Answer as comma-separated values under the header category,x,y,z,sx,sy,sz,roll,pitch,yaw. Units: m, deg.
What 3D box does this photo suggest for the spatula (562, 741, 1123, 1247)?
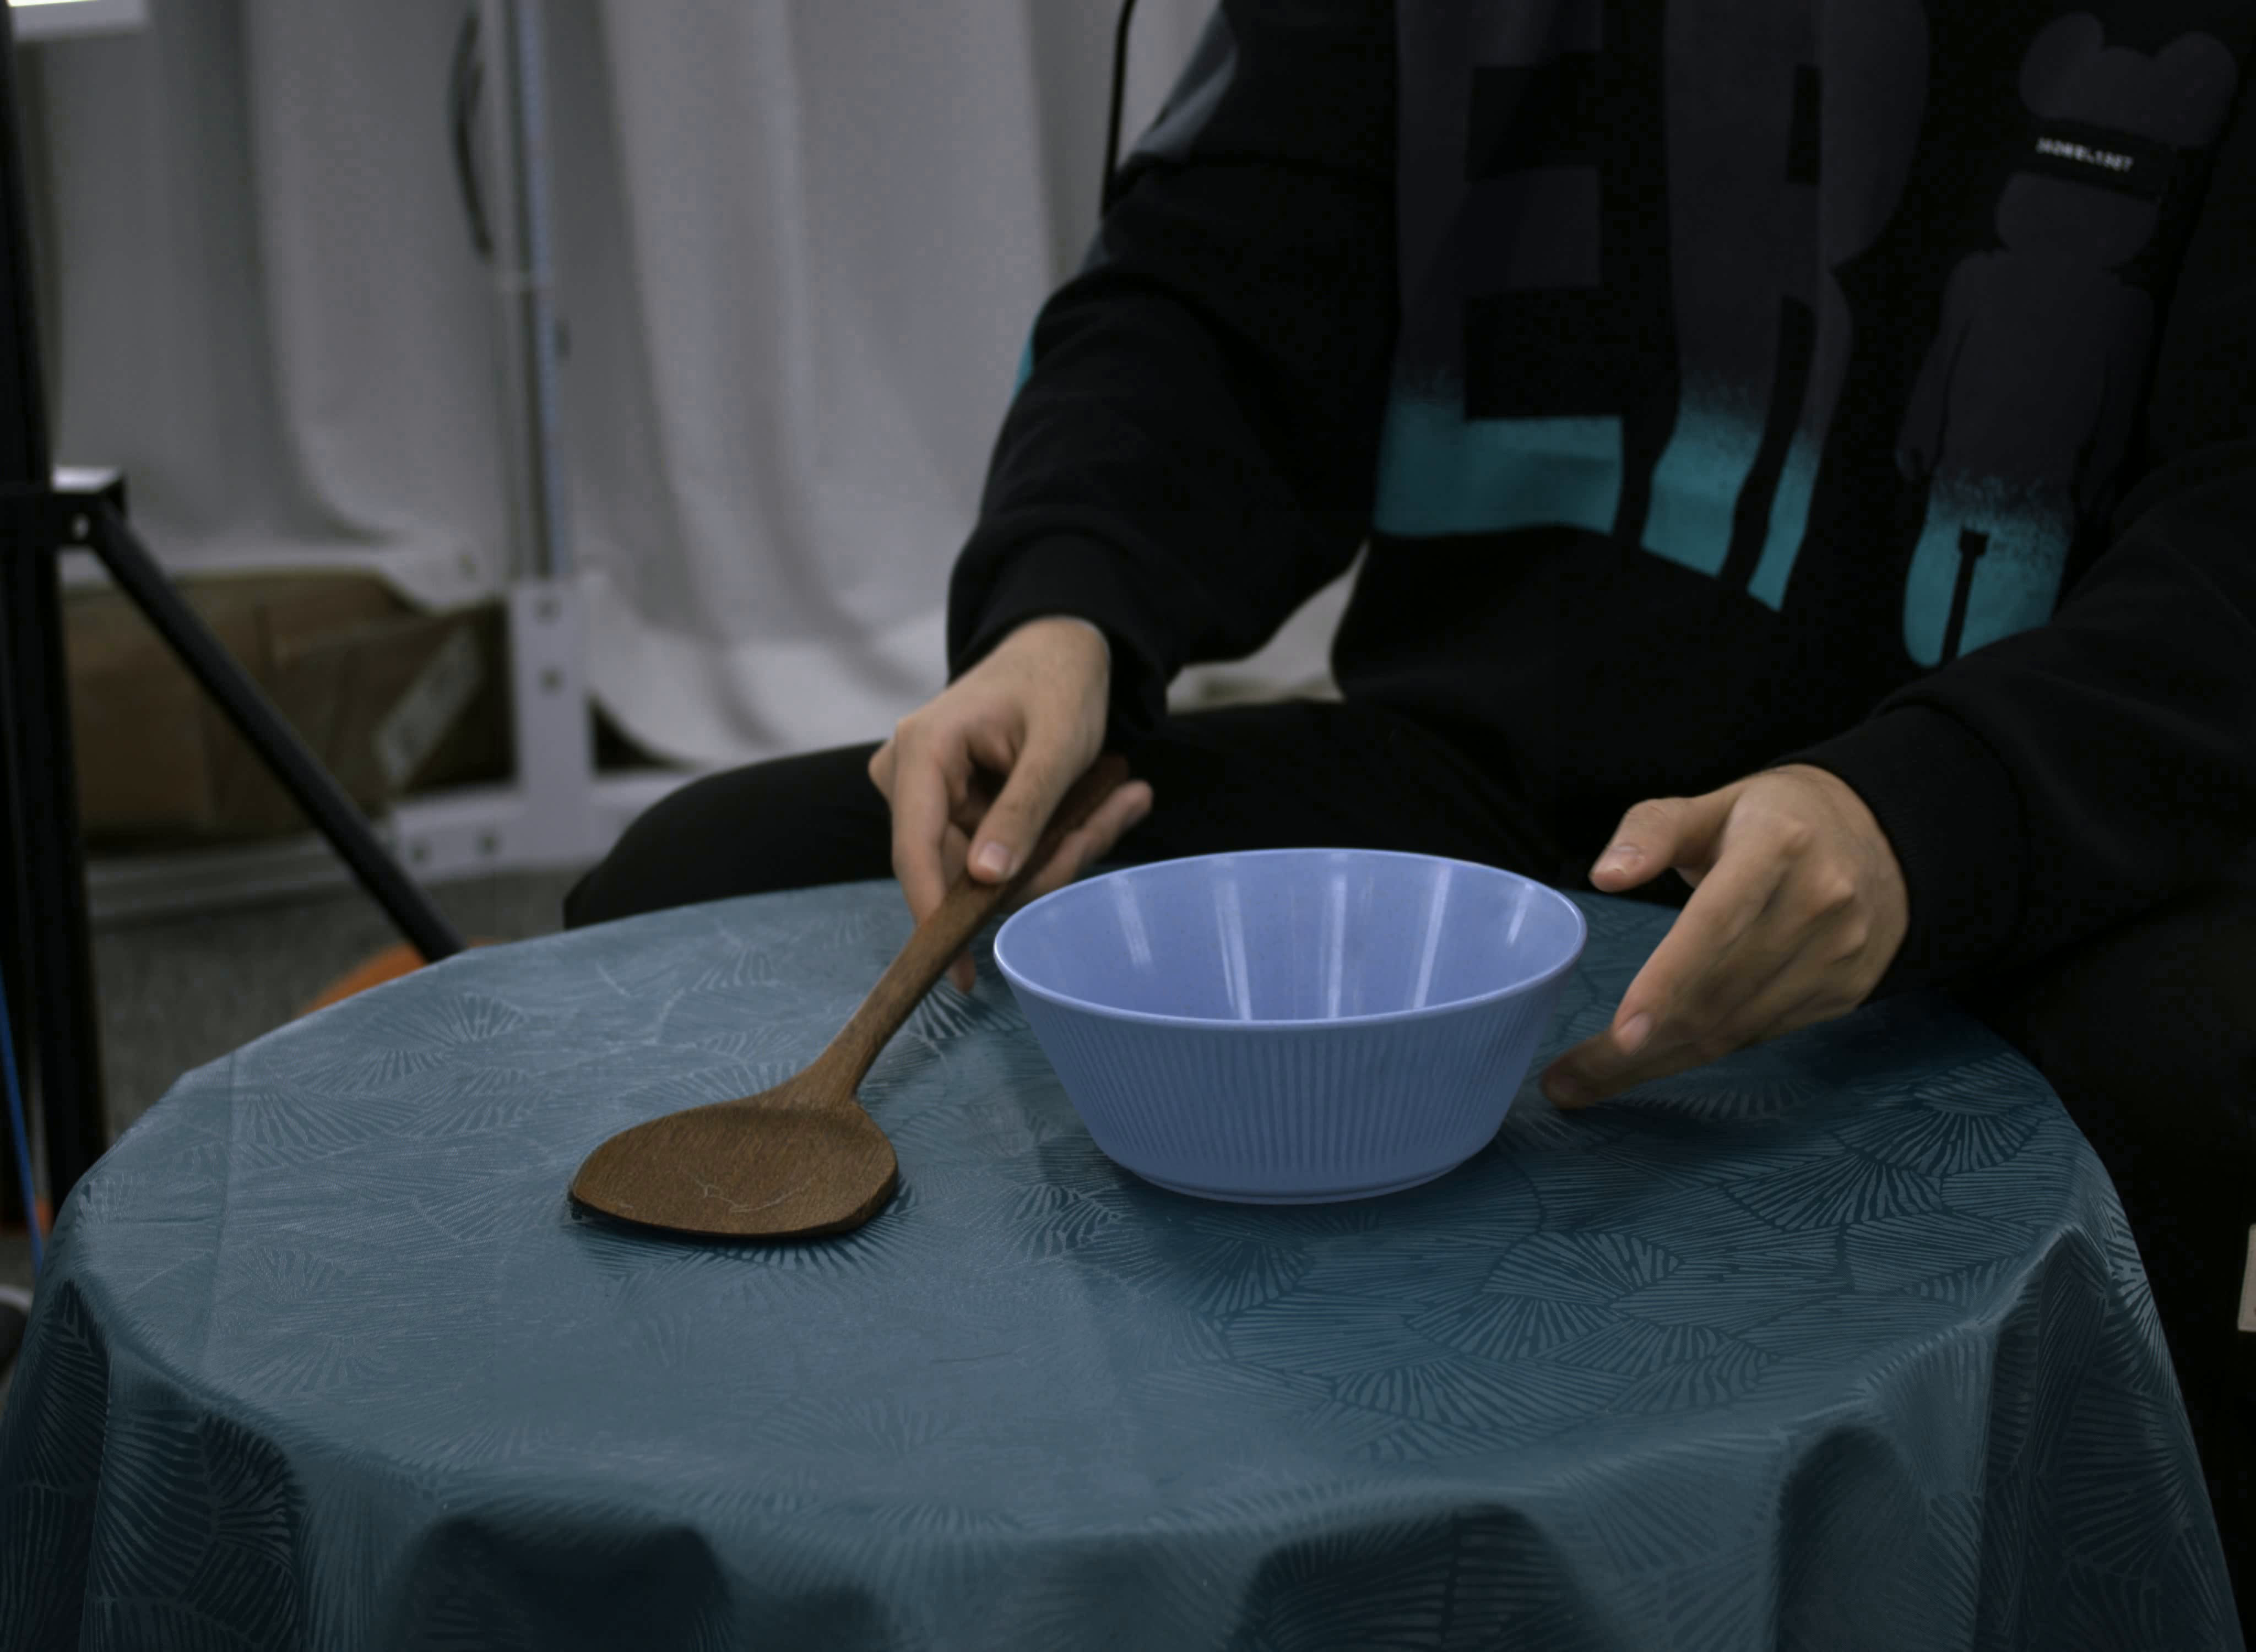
category,x,y,z,sx,sy,sz,roll,pitch,yaw
spatula,-0.069,0.045,1.701,0.097,0.016,0.383,5,25,17

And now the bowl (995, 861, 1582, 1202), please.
category,x,y,z,sx,sy,sz,roll,pitch,yaw
bowl,0.048,0.063,1.581,0.175,0.070,0.177,-2,14,-1
